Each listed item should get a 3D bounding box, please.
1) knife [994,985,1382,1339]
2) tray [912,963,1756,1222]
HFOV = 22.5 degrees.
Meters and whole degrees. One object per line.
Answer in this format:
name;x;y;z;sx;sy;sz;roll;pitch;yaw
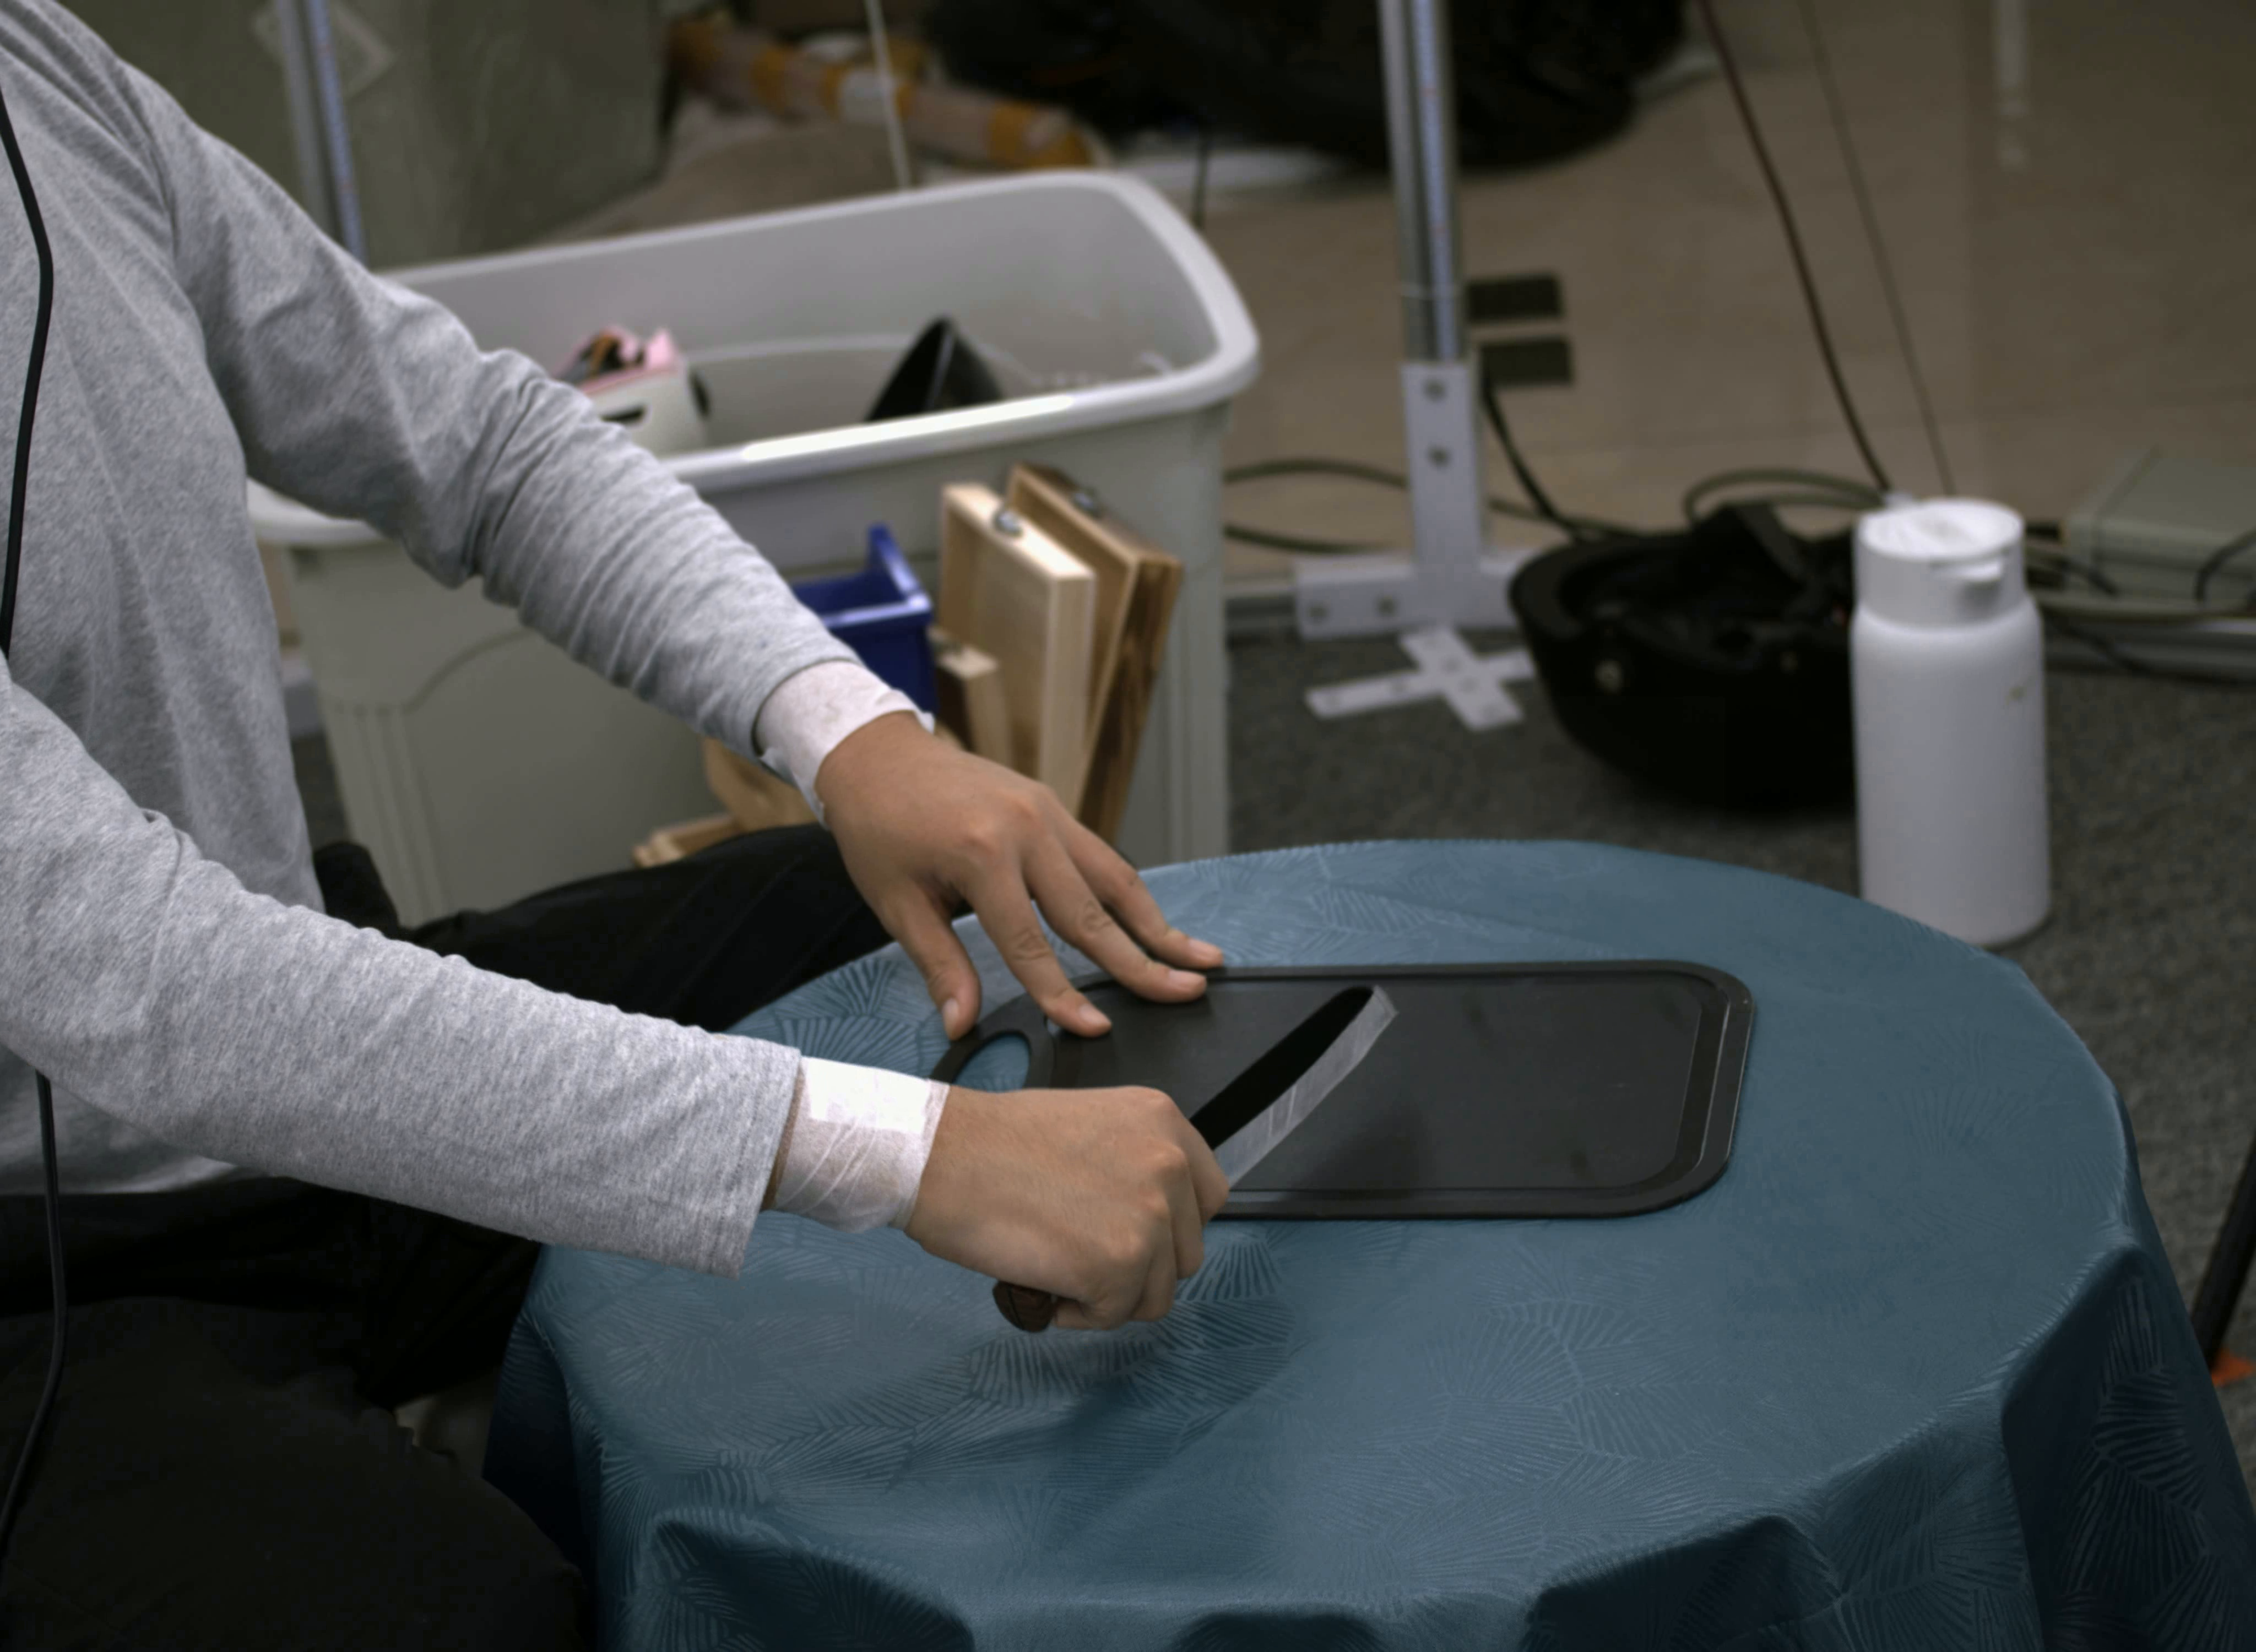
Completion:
knife;0.029;0.121;2.102;0.020;0.051;0.286;21;30;23
tray;0.077;0.101;2.209;0.325;0.010;0.208;-1;25;13
